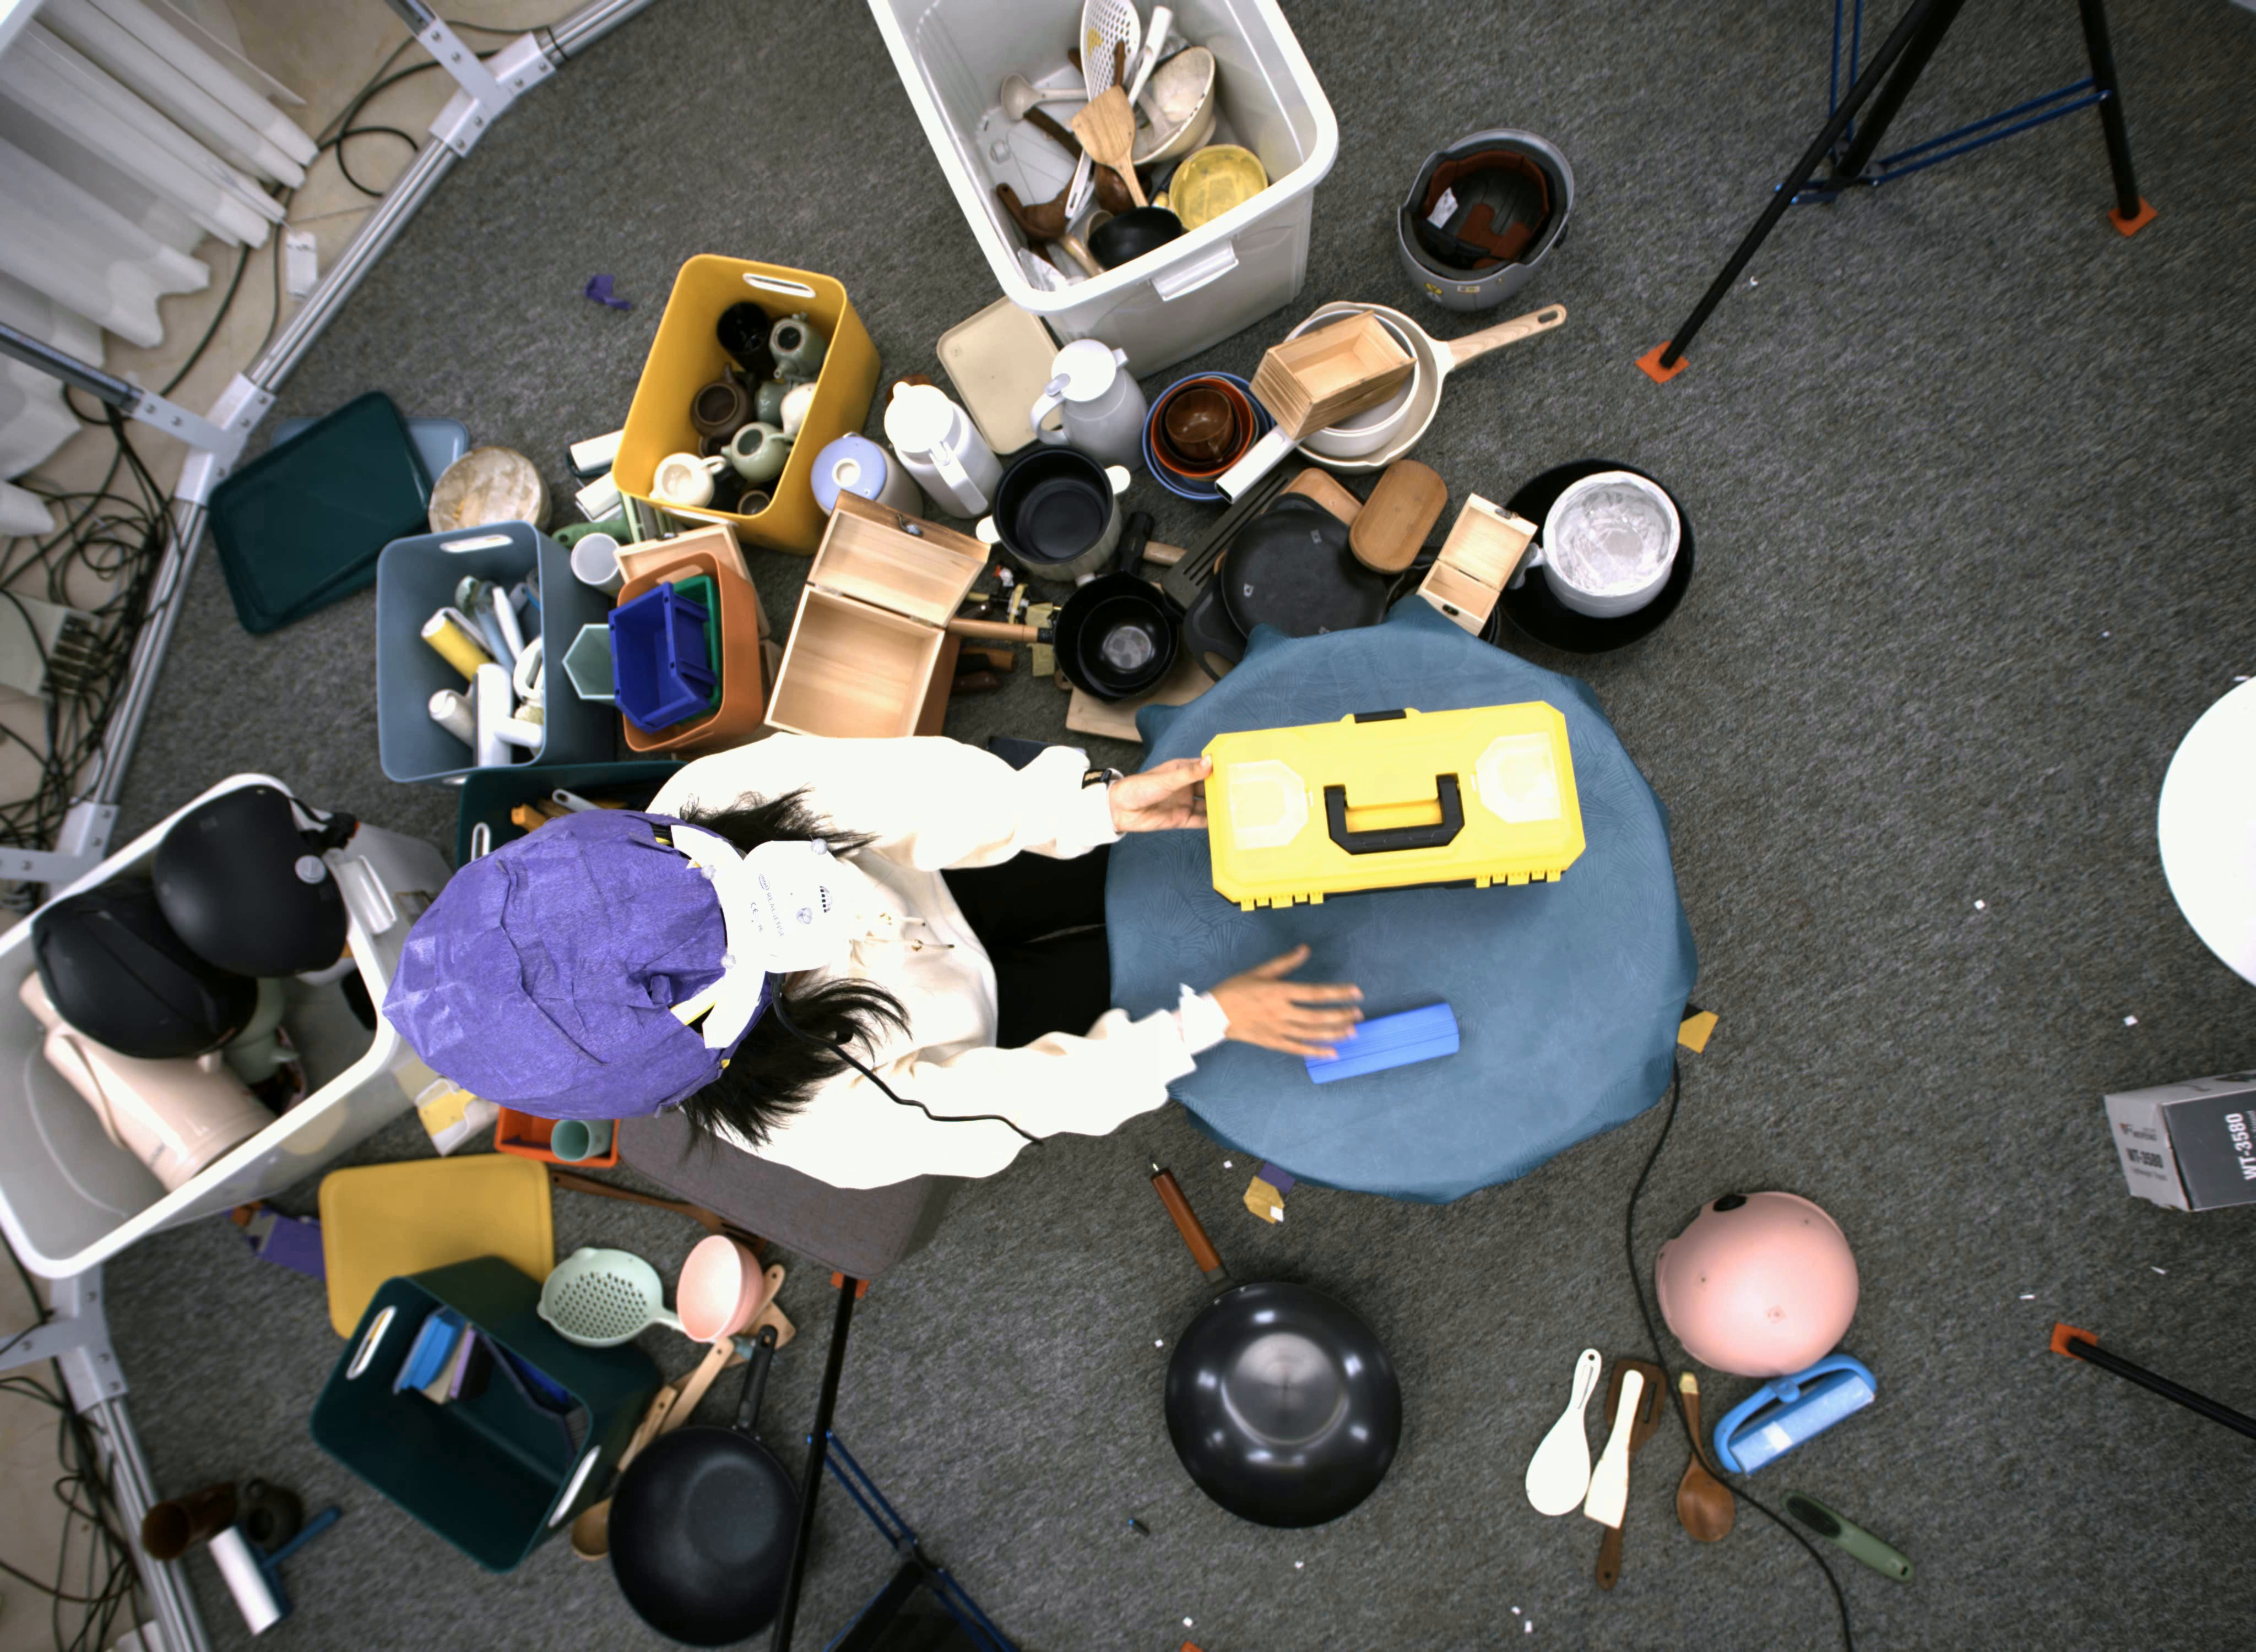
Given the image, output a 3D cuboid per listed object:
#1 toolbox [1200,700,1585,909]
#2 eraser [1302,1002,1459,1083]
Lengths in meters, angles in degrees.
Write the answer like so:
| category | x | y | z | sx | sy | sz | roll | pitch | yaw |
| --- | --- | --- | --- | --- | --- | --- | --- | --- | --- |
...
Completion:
| category | x | y | z | sx | sy | sz | roll | pitch | yaw |
| --- | --- | --- | --- | --- | --- | --- | --- | --- | --- |
| toolbox | 0.253 | -0.014 | 1.361 | 0.352 | 0.174 | 0.179 | -5 | 77 | 5 |
| eraser | 0.261 | 0.223 | 1.429 | 0.163 | 0.047 | 0.053 | -14 | 82 | 8 |
